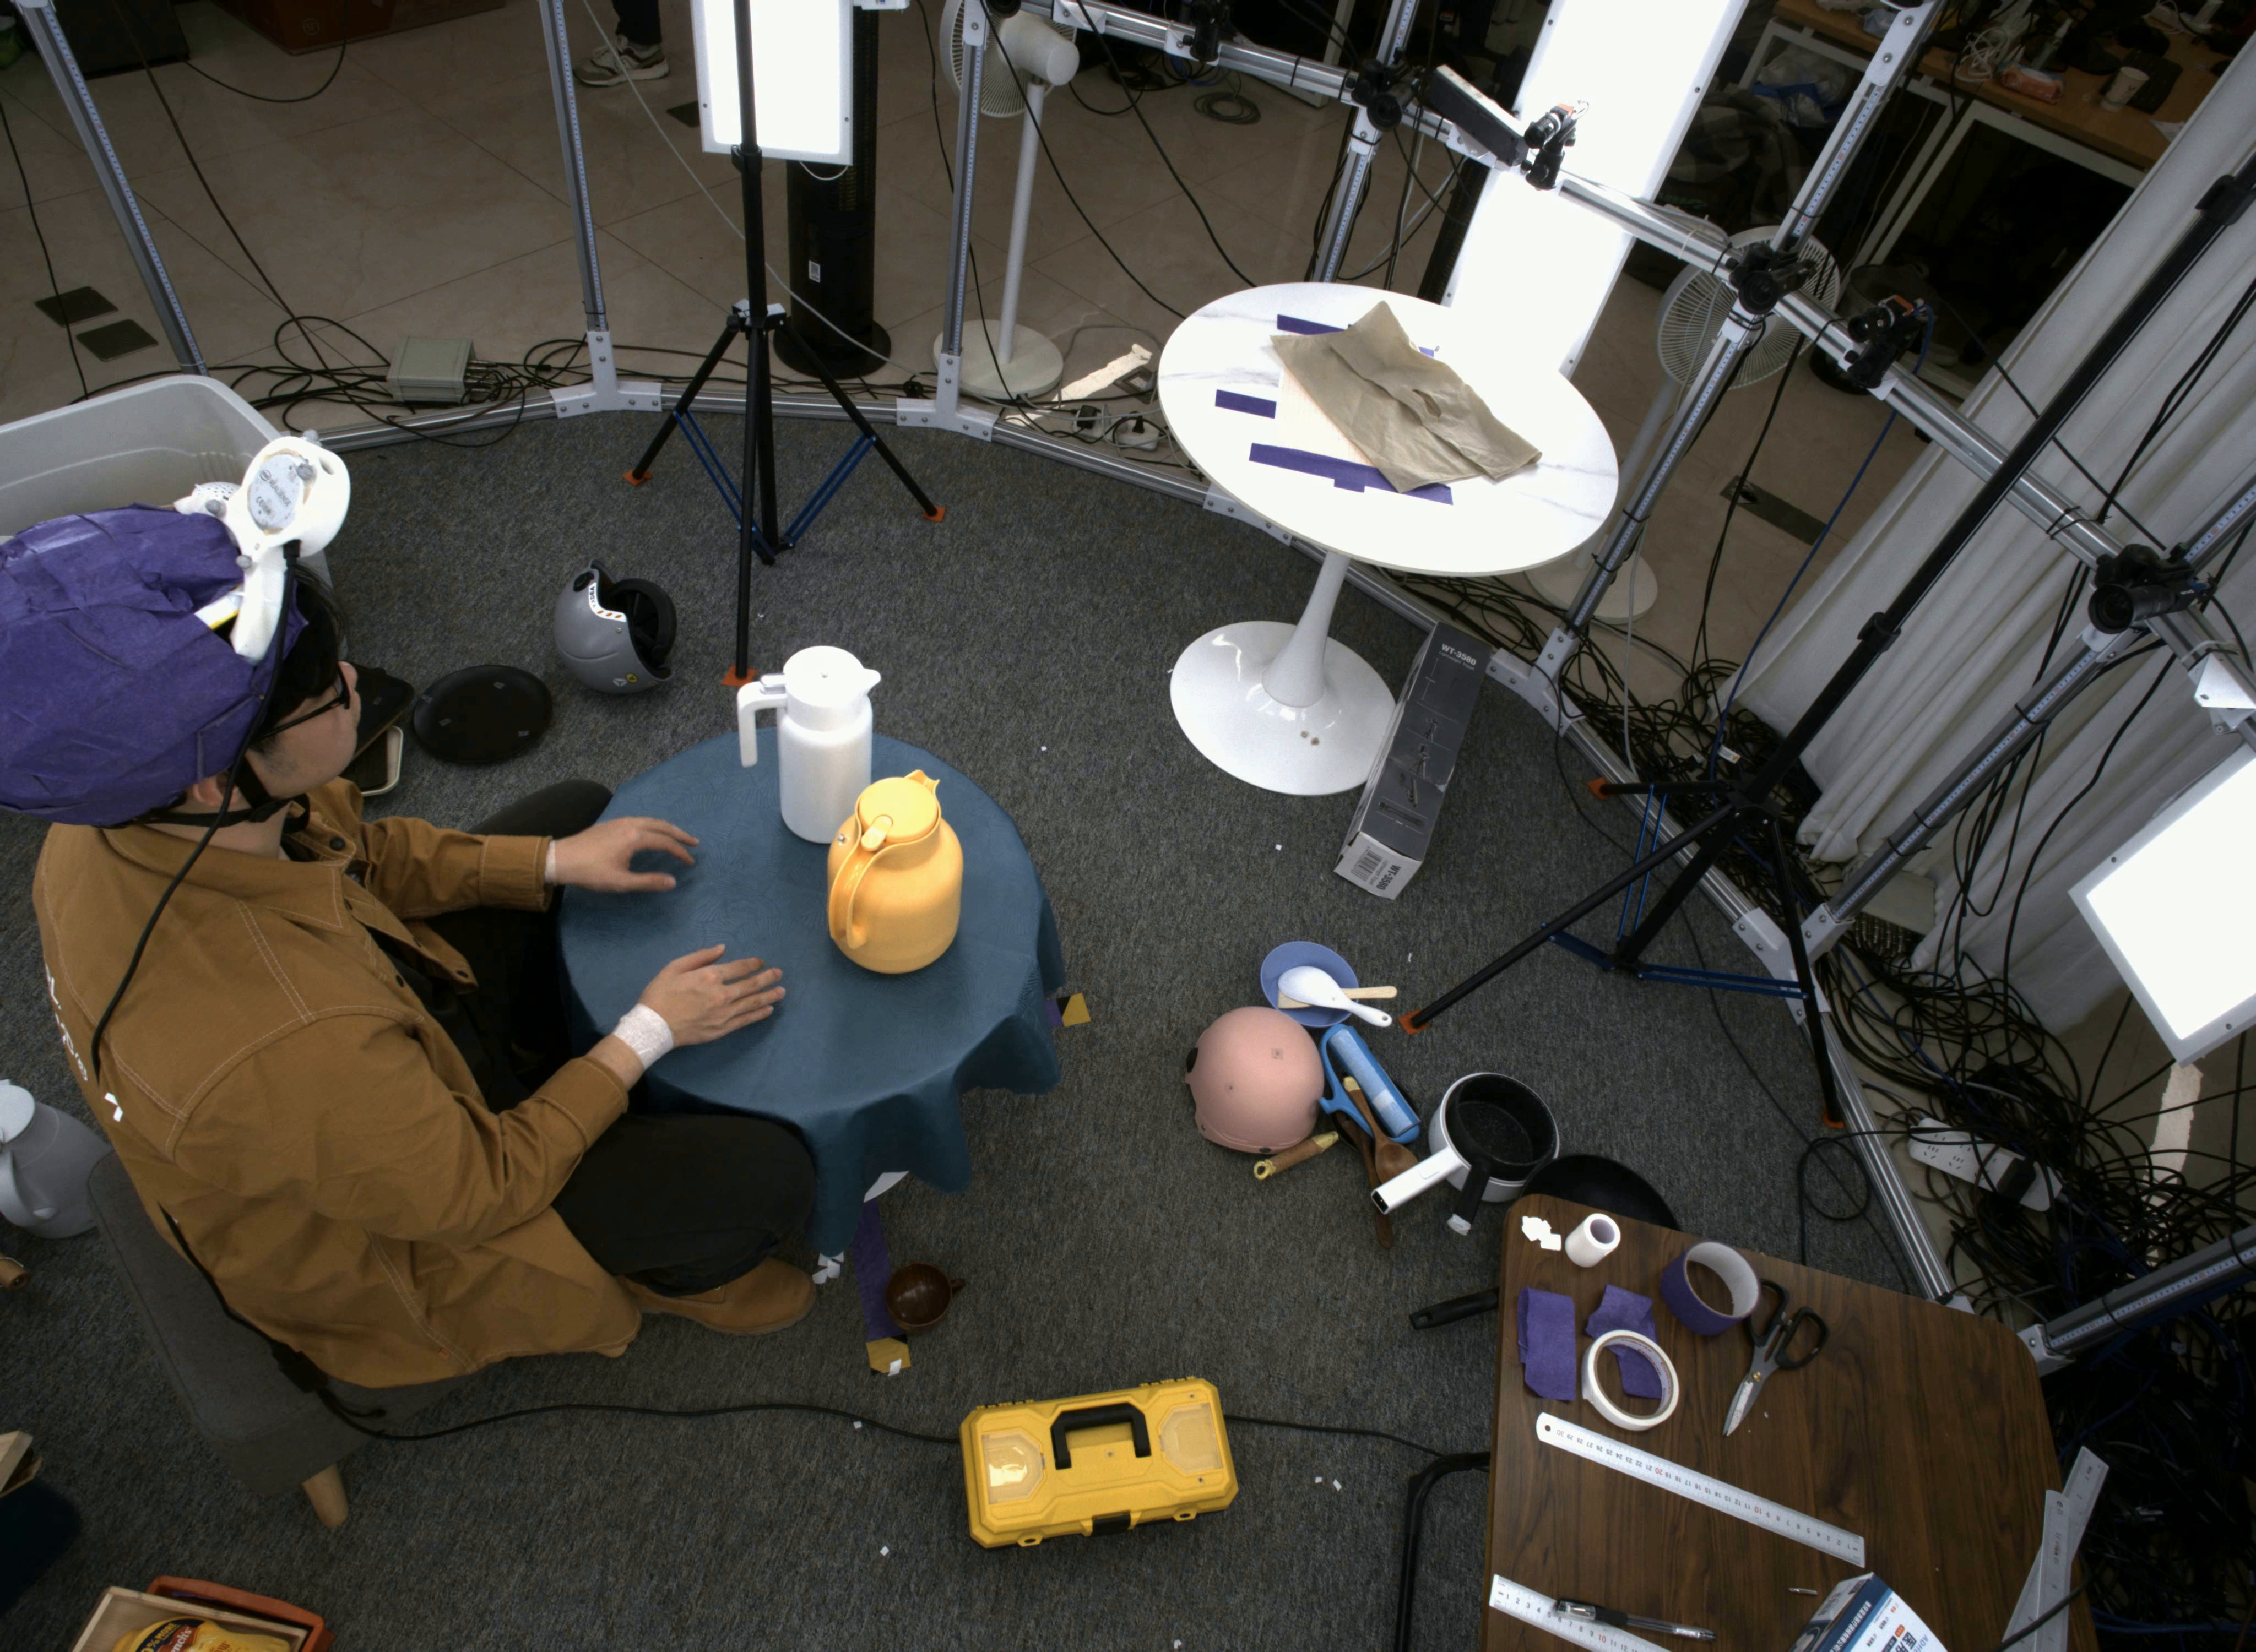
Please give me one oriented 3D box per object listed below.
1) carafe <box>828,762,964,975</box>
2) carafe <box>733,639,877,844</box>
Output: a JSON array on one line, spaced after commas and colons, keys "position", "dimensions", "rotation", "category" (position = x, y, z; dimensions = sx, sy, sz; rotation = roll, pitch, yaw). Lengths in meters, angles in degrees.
[{"position": [-0.287, 0.060, 1.542], "dimensions": [0.160, 0.267, 0.201], "rotation": [25, 50, 12], "category": "carafe"}, {"position": [-0.402, -0.100, 1.629], "dimensions": [0.173, 0.274, 0.121], "rotation": [-9, 56, -18], "category": "carafe"}]
